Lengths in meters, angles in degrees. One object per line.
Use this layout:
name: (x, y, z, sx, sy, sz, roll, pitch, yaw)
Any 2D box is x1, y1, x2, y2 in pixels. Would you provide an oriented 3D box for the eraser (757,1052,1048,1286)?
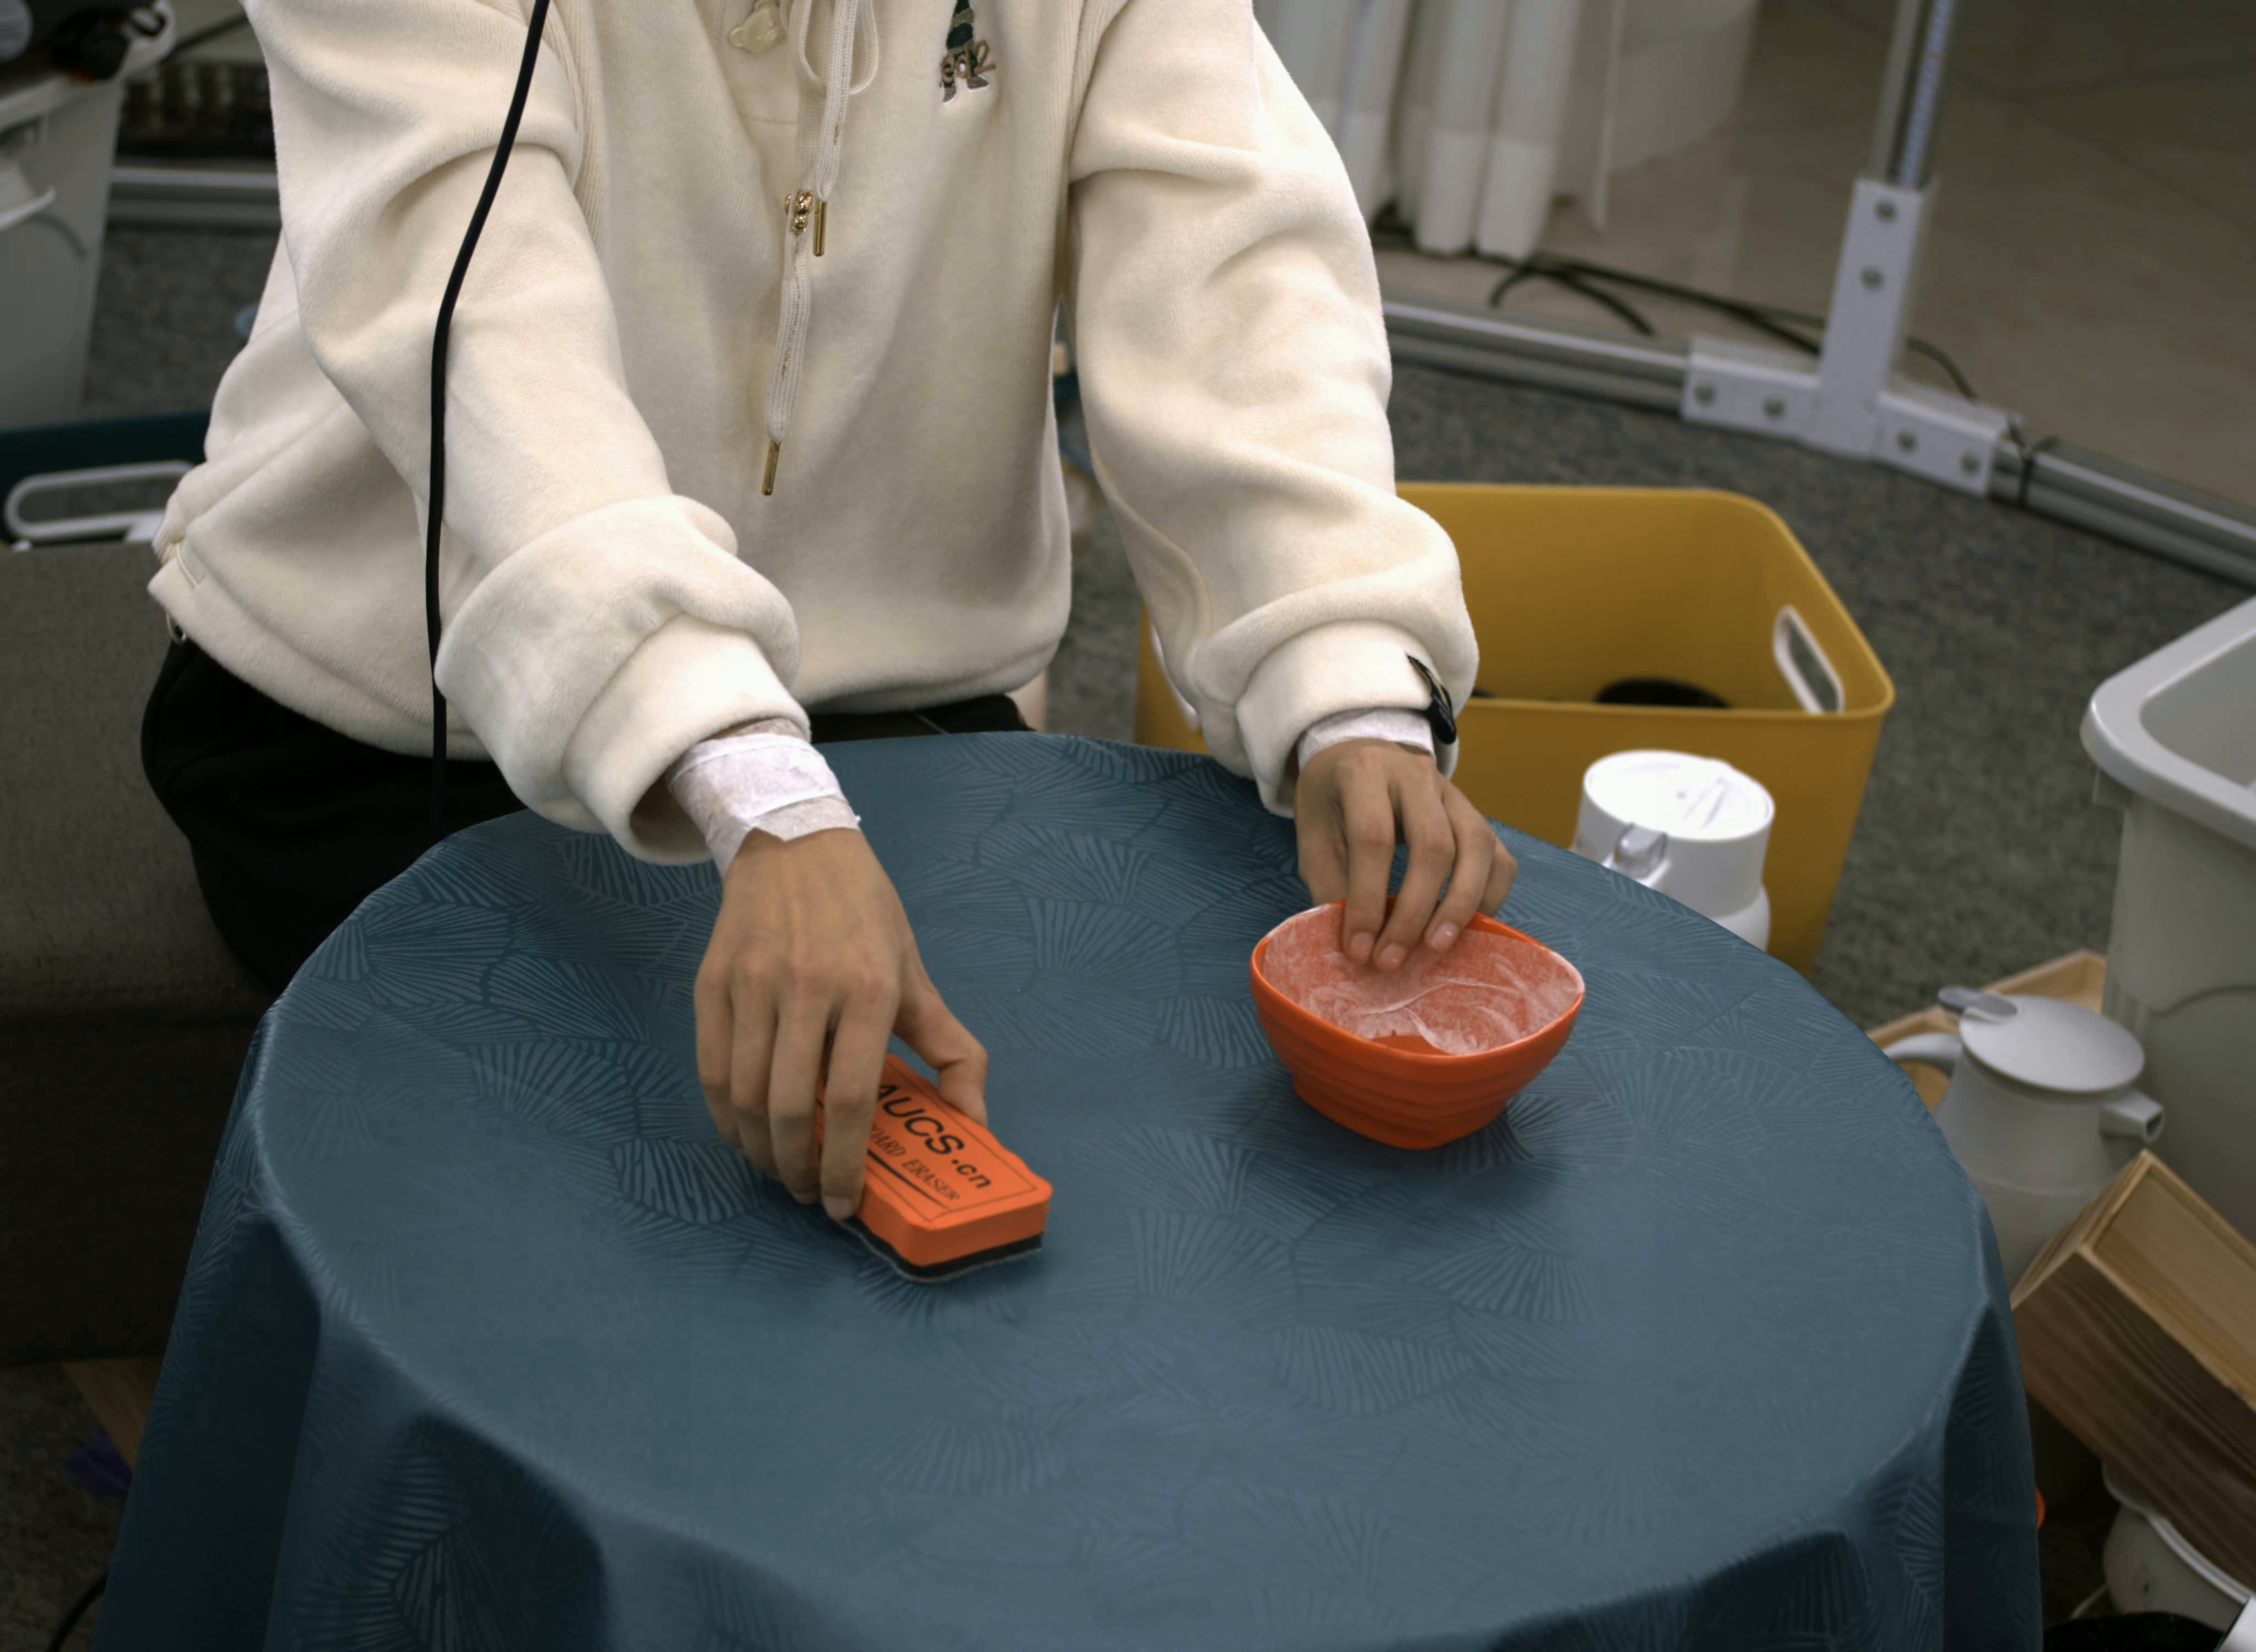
eraser: (-0.076, 0.114, 1.779, 0.058, 0.023, 0.109, -14, 33, -31)

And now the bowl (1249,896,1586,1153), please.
bowl: (0.099, 0.073, 1.867, 0.118, 0.051, 0.119, 4, 27, -2)
